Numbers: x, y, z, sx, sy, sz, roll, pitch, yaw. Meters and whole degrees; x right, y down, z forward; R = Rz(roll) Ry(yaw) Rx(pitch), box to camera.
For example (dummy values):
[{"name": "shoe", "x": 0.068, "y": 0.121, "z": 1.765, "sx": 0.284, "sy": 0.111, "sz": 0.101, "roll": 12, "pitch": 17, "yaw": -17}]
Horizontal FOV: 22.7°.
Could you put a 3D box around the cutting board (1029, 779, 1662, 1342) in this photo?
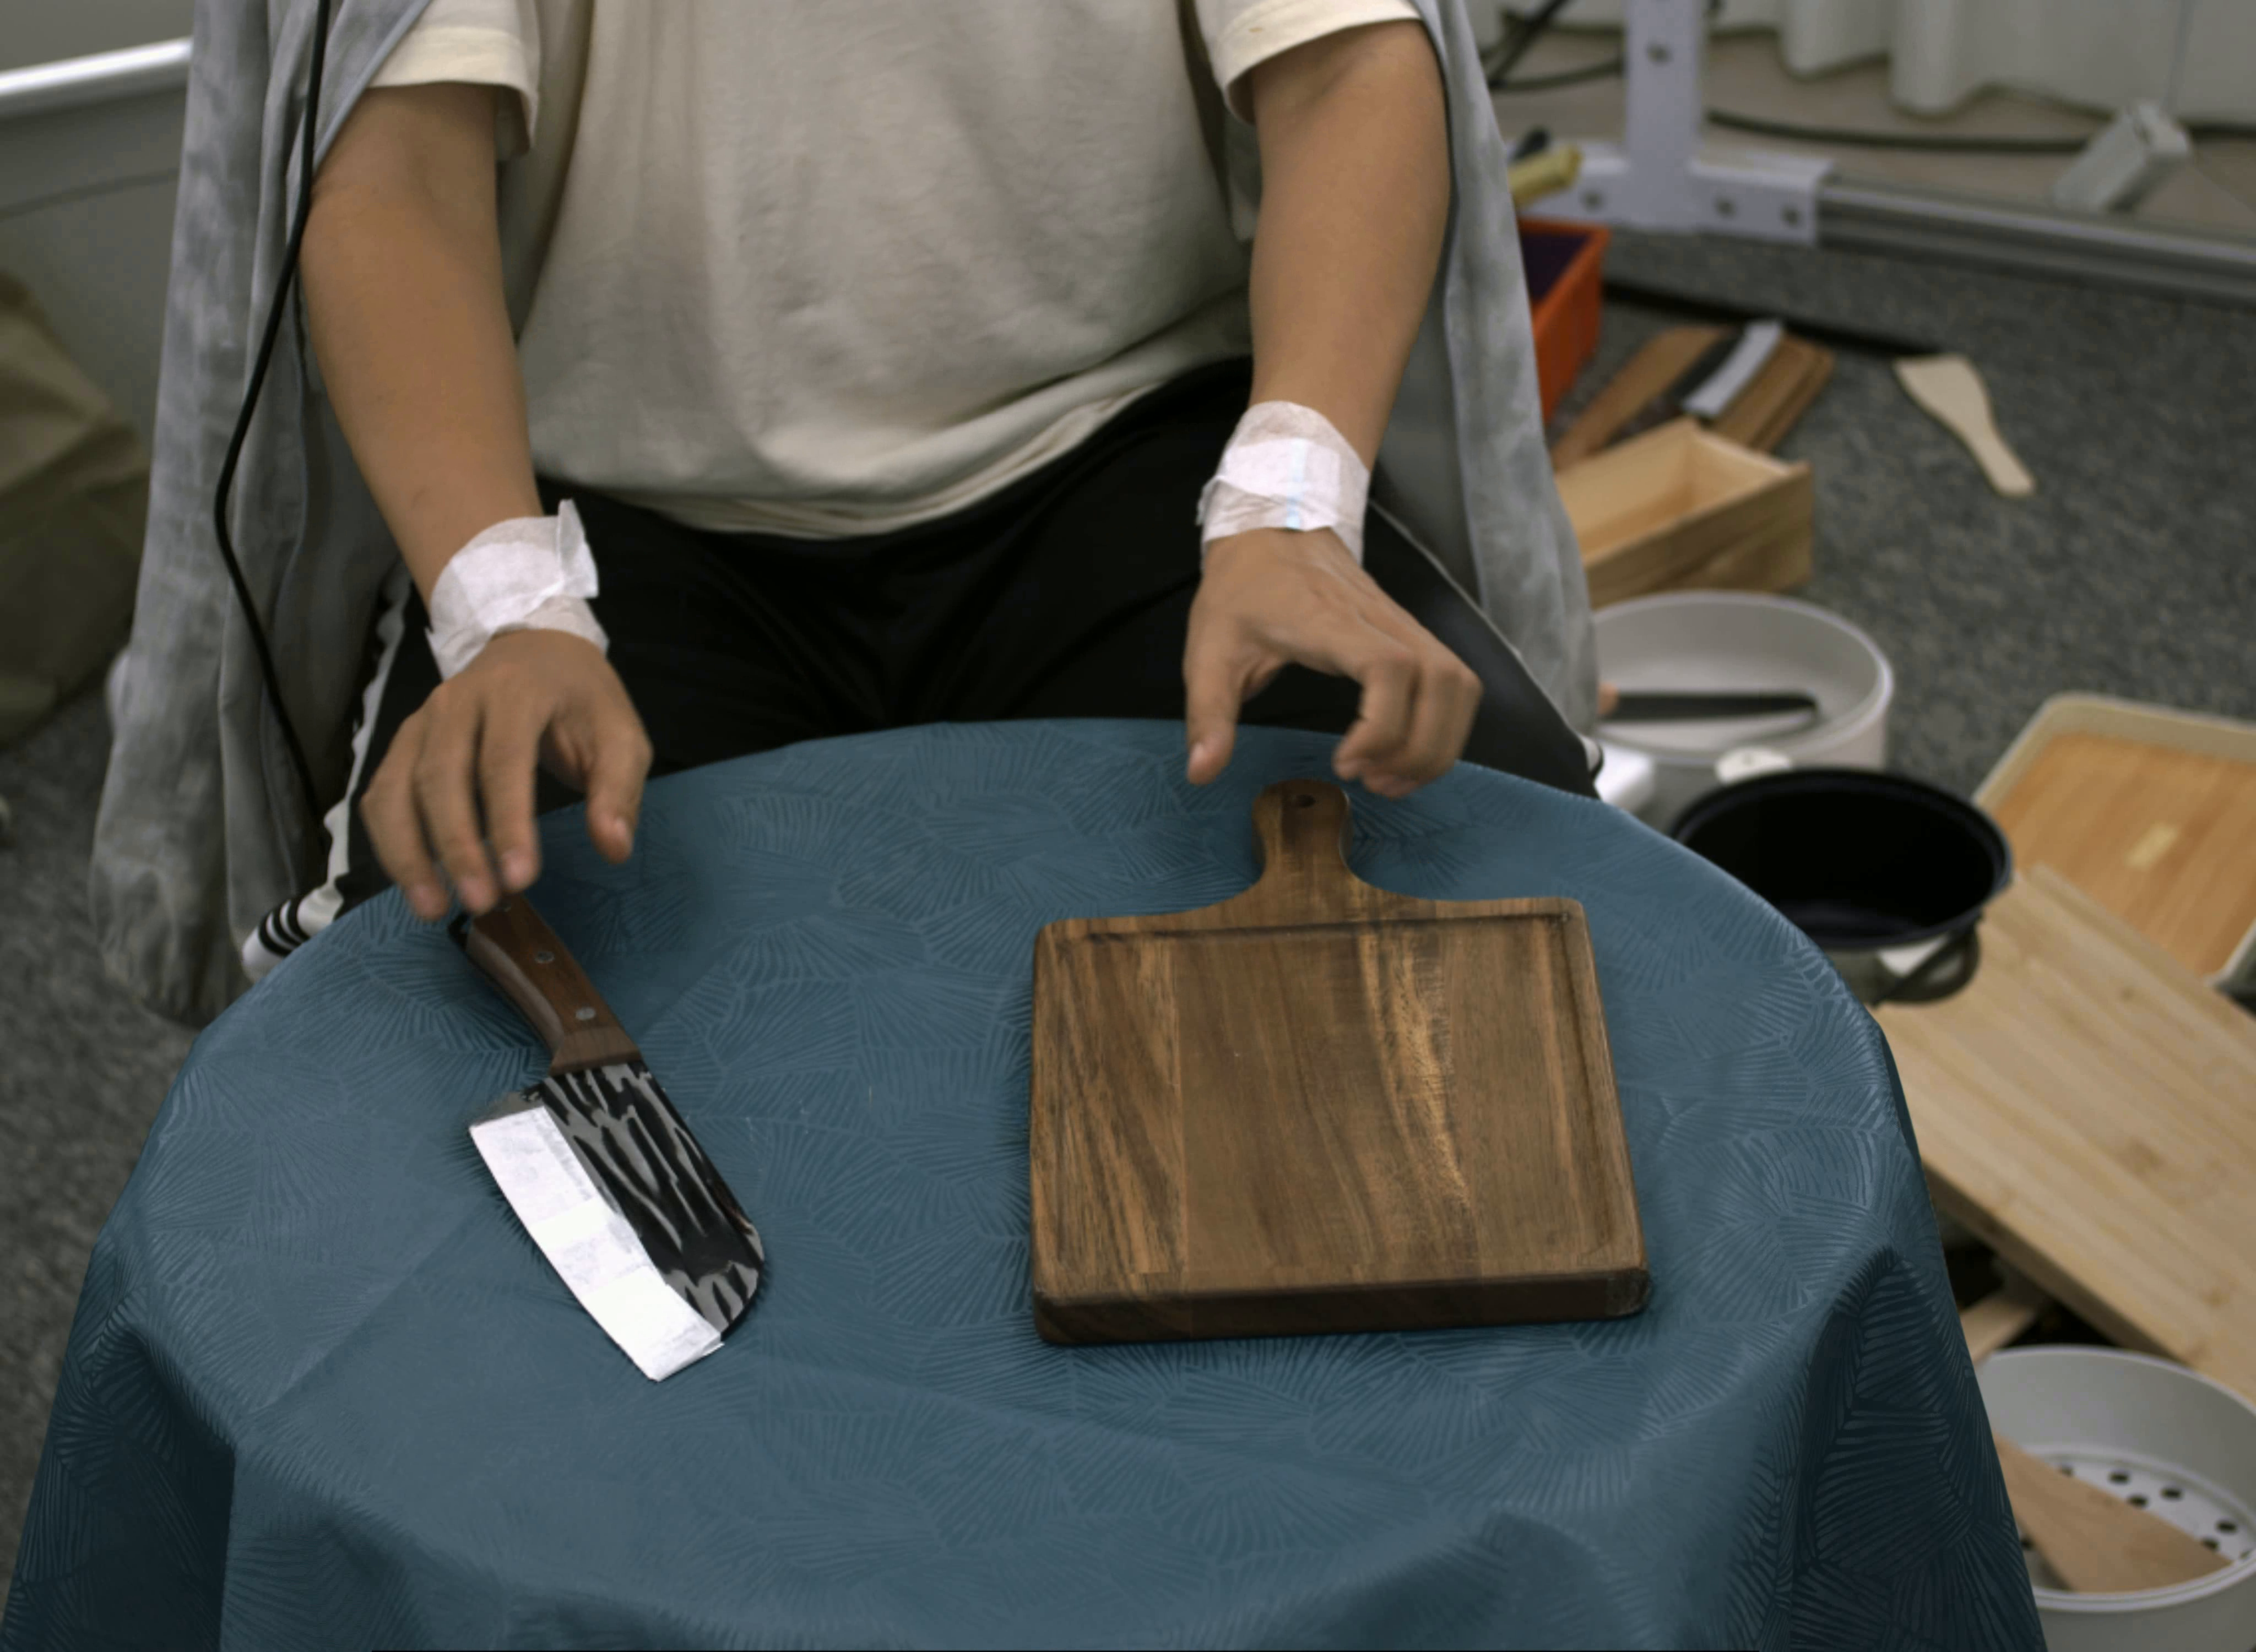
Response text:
[{"name": "cutting board", "x": 0.066, "y": 0.071, "z": 1.928, "sx": 0.200, "sy": 0.023, "sz": 0.357, "roll": -3, "pitch": 27, "yaw": 0}]

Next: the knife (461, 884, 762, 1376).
[{"name": "knife", "x": -0.186, "y": 0.101, "z": 1.898, "sx": 0.068, "sy": 0.023, "sz": 0.302, "roll": -15, "pitch": 32, "yaw": -17}]
